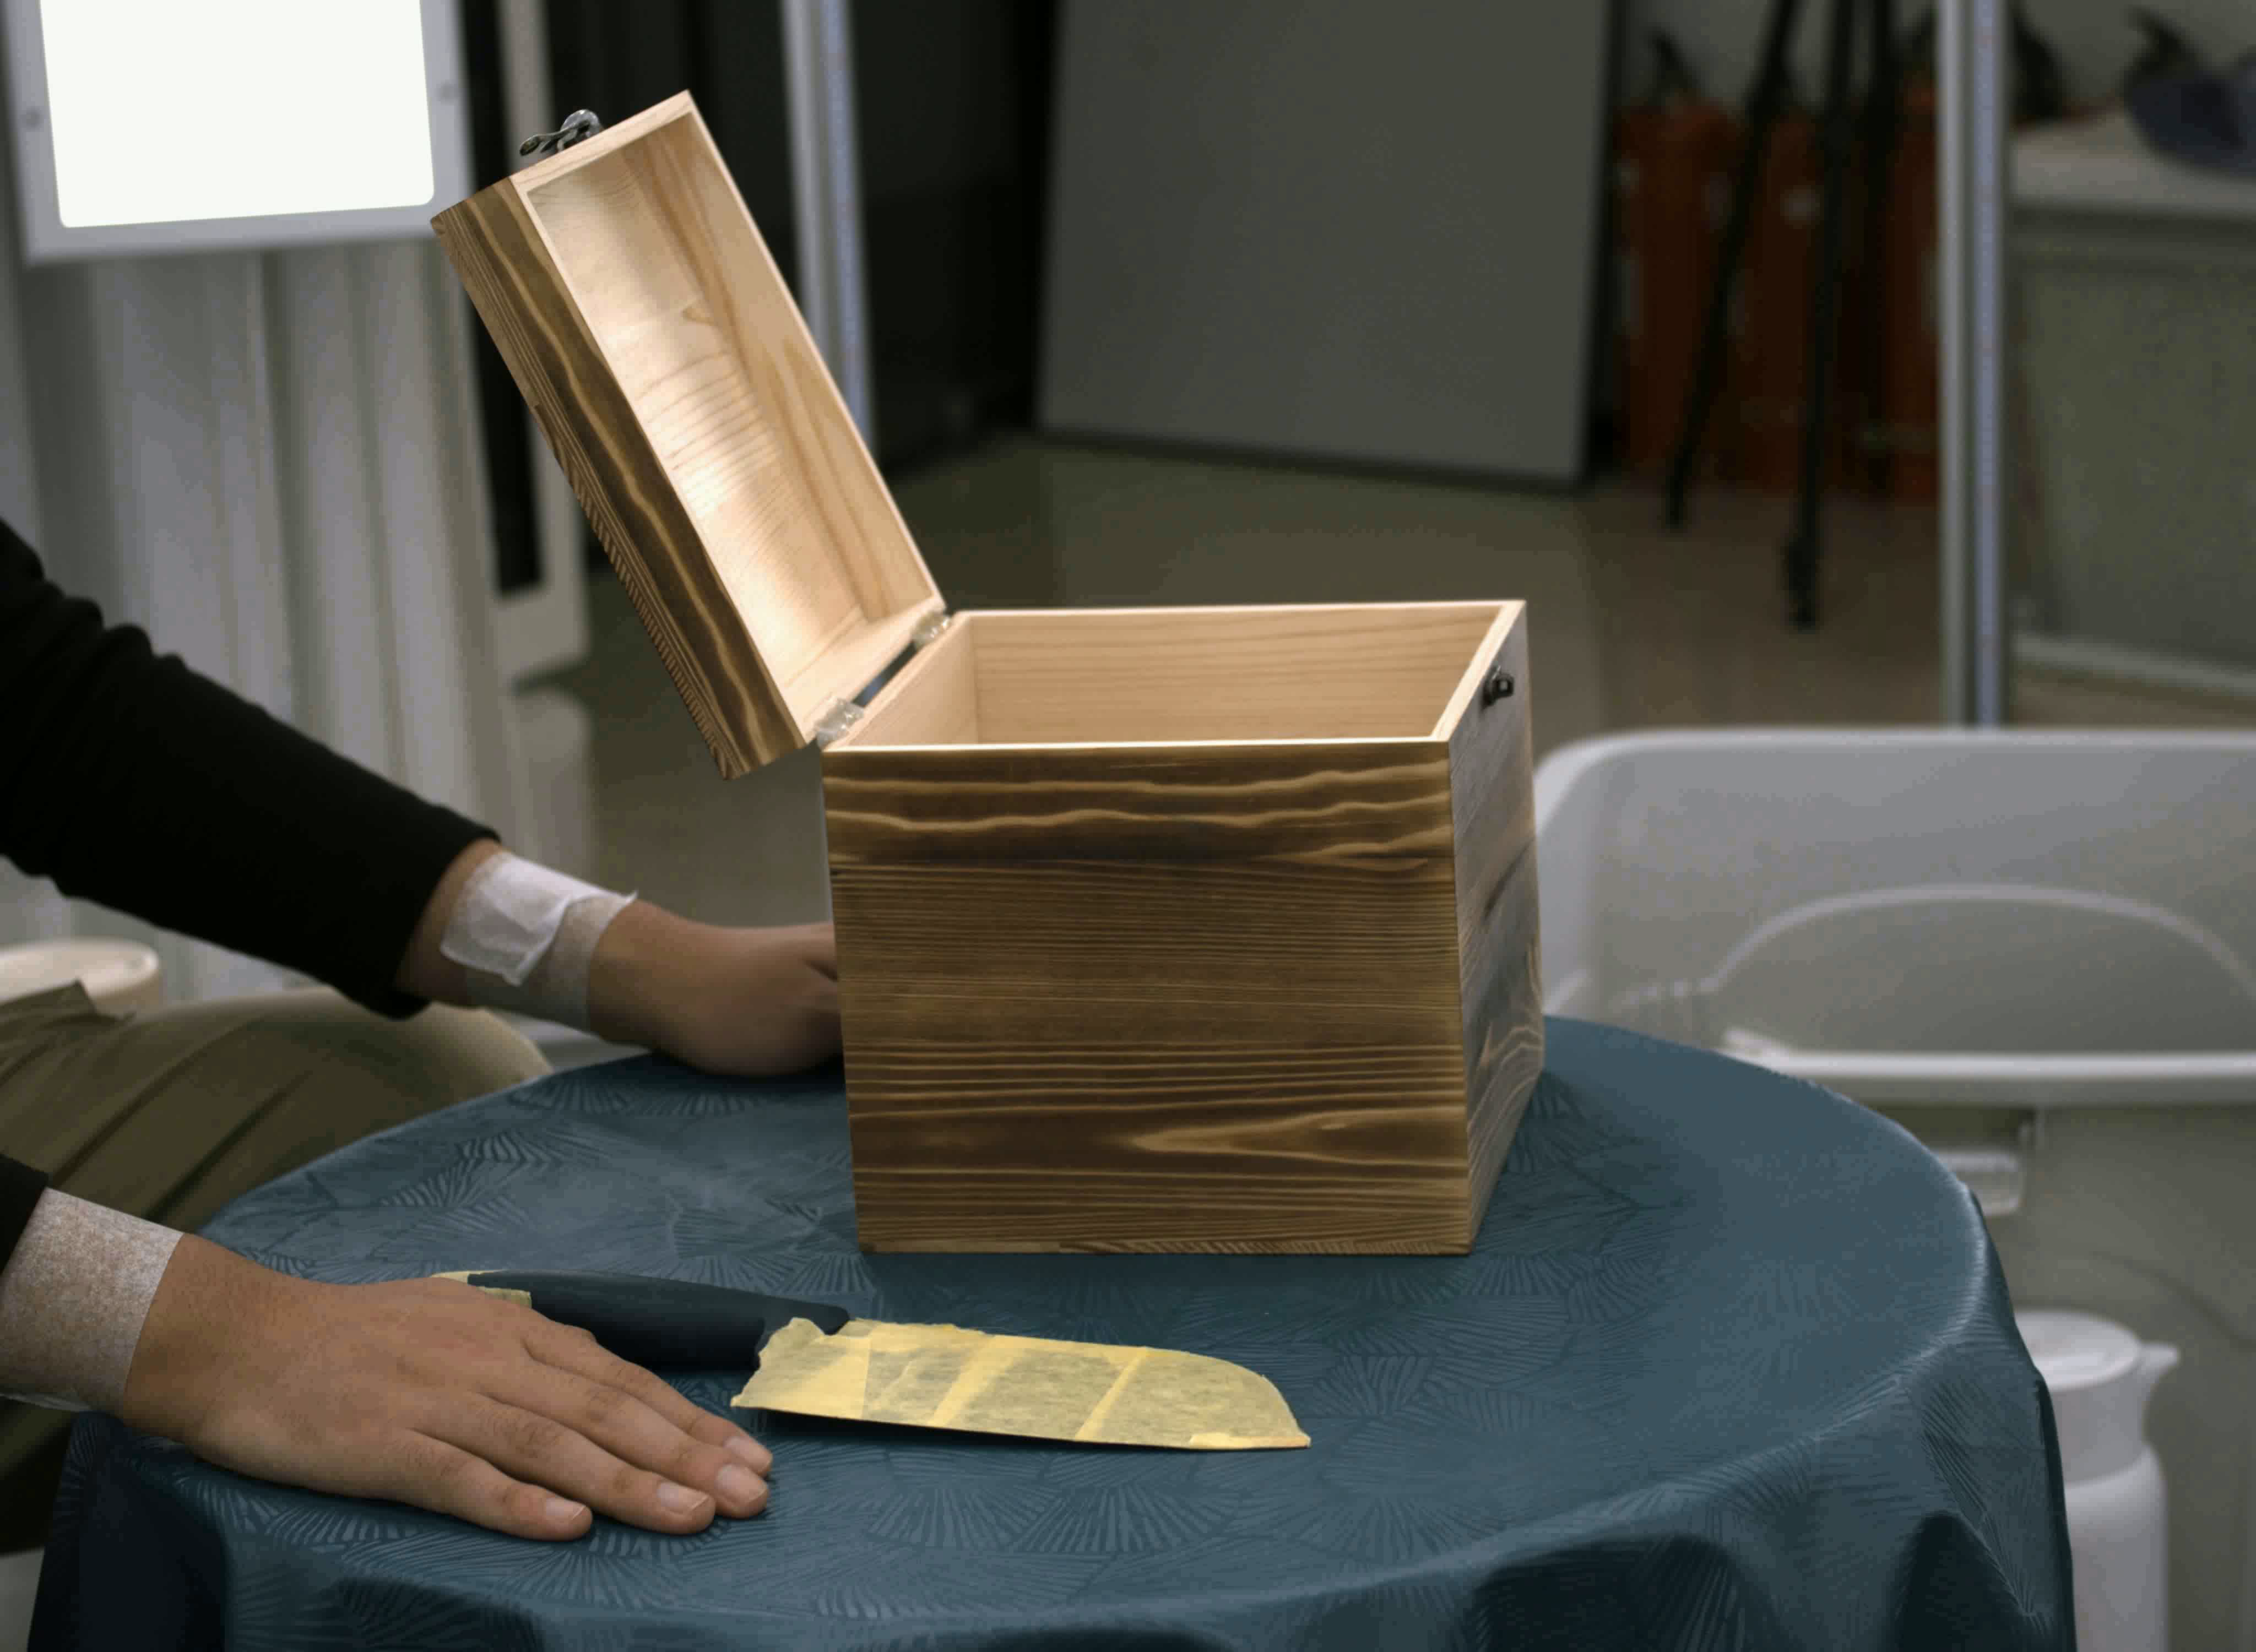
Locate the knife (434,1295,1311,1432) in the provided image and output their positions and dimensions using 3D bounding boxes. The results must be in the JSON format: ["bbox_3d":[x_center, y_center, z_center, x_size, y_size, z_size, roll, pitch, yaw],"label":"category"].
[{"bbox_3d":[-0.081,0.162,1.598,0.289,0.027,0.080,2,13,21],"label":"knife"}]

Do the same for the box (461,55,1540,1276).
[{"bbox_3d":[-0.032,-0.062,1.766,0.320,0.379,0.208,-2,14,13],"label":"box"}]
